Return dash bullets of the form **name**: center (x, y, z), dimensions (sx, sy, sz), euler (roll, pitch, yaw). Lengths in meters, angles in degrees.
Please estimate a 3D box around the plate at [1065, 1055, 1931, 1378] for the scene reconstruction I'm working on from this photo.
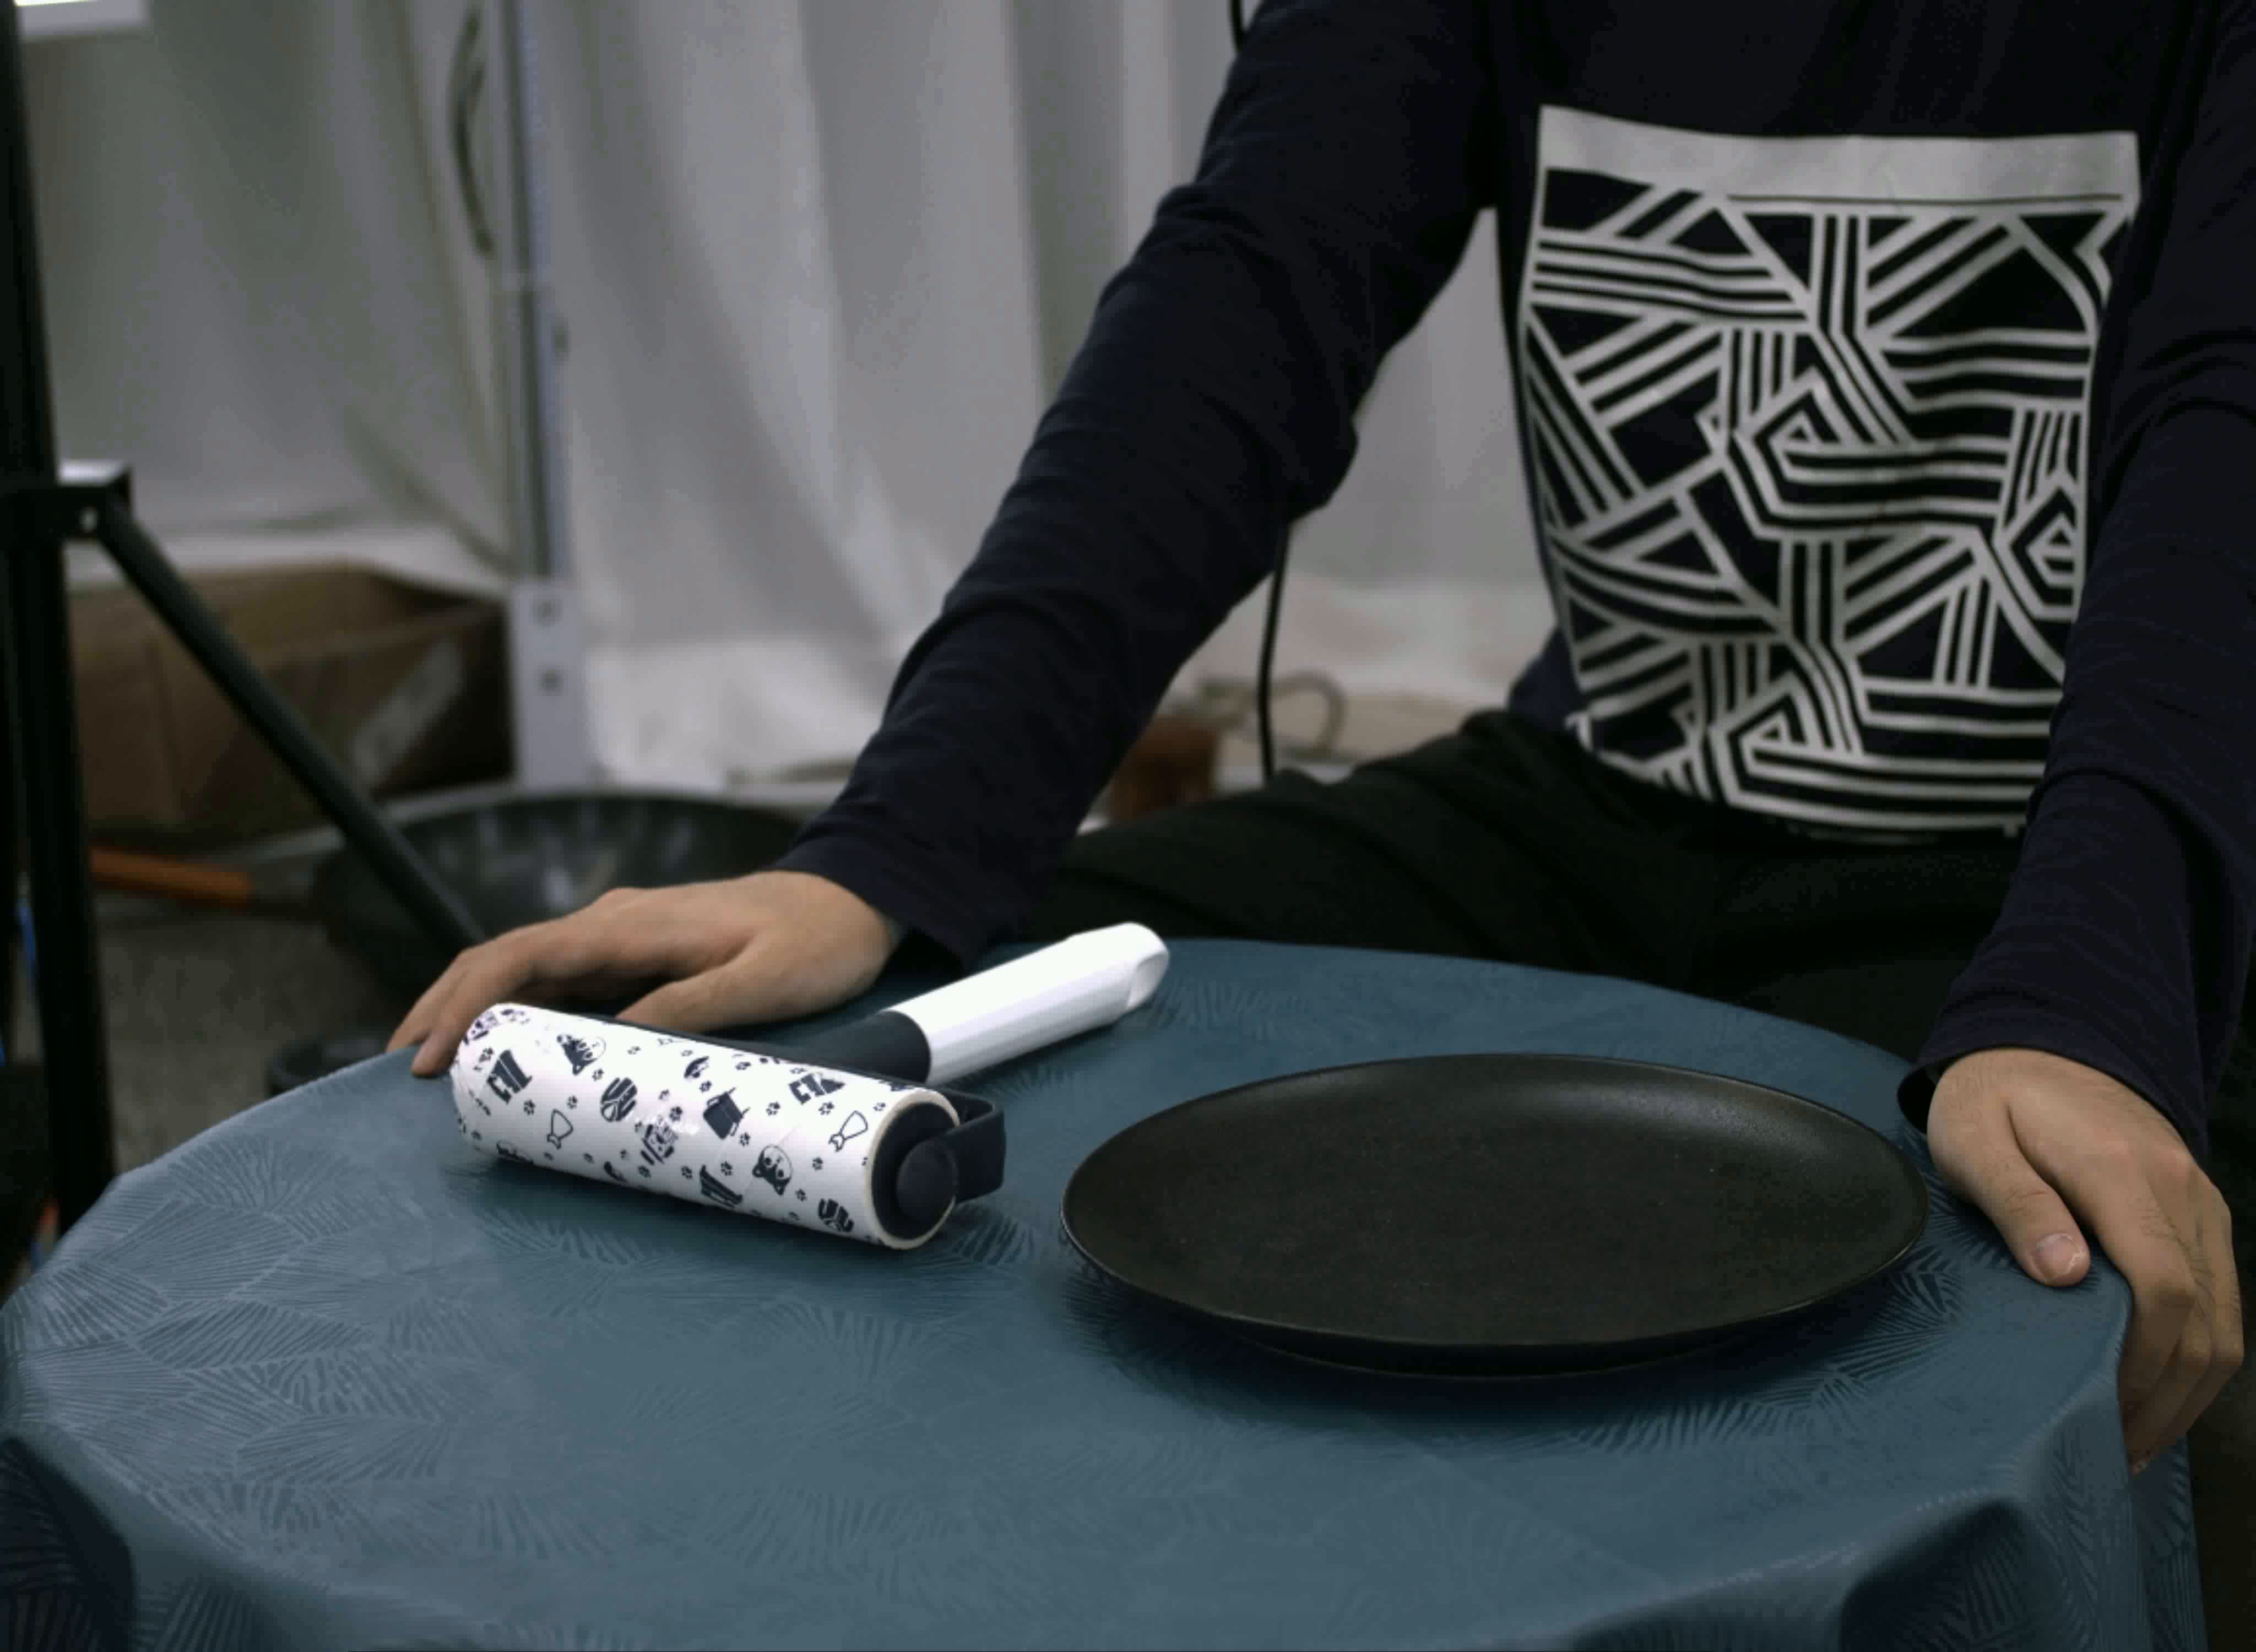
- **plate**: center (0.104, 0.112, 1.490), dimensions (0.243, 0.023, 0.245), euler (-3, 16, -1)

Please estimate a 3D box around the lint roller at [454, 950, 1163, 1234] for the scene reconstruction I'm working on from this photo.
- **lint roller**: center (-0.067, 0.066, 1.646), dimensions (0.180, 0.050, 0.242), euler (8, 16, 35)
